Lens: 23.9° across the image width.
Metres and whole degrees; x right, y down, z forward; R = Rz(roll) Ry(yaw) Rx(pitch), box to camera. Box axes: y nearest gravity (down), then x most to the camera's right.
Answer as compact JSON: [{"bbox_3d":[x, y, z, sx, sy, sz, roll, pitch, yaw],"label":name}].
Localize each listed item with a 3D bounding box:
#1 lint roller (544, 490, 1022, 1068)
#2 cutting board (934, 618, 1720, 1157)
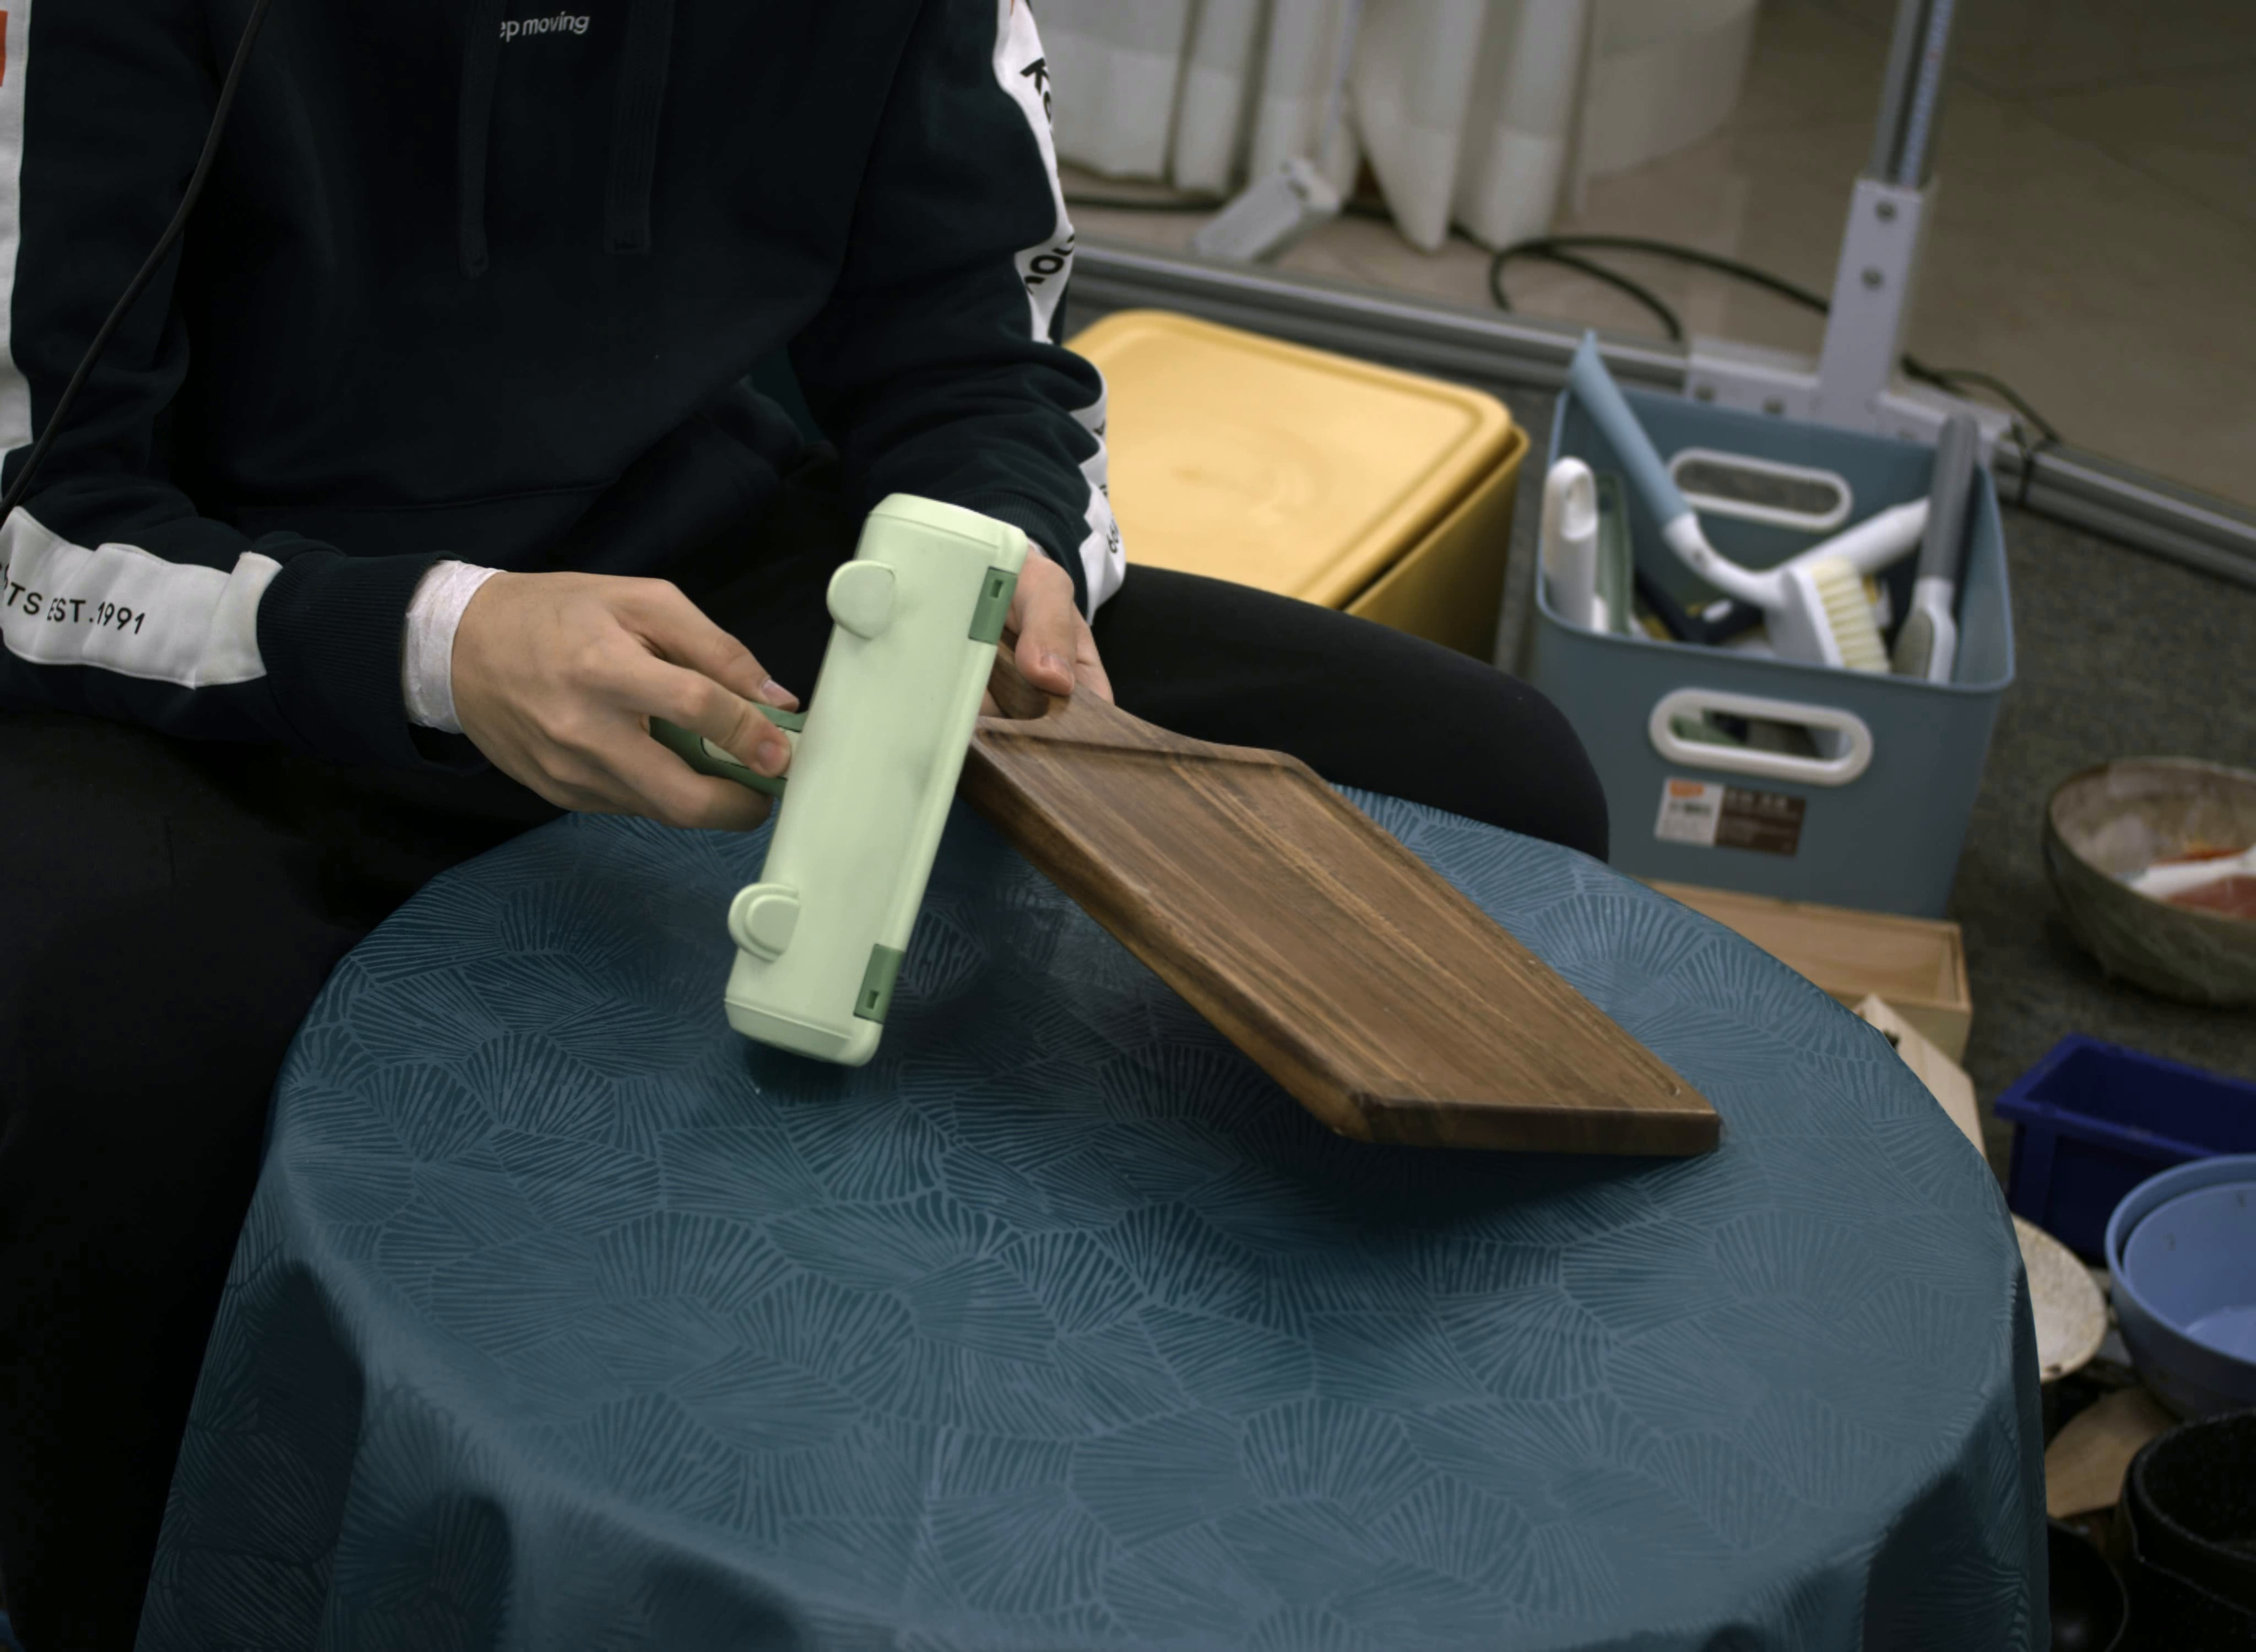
[{"bbox_3d":[-0.141,-0.031,1.861,0.184,0.199,0.081,15,-4,25],"label":"lint roller"},{"bbox_3d":[0.037,0.013,1.897,0.199,0.023,0.355,6,26,-47],"label":"cutting board"}]
